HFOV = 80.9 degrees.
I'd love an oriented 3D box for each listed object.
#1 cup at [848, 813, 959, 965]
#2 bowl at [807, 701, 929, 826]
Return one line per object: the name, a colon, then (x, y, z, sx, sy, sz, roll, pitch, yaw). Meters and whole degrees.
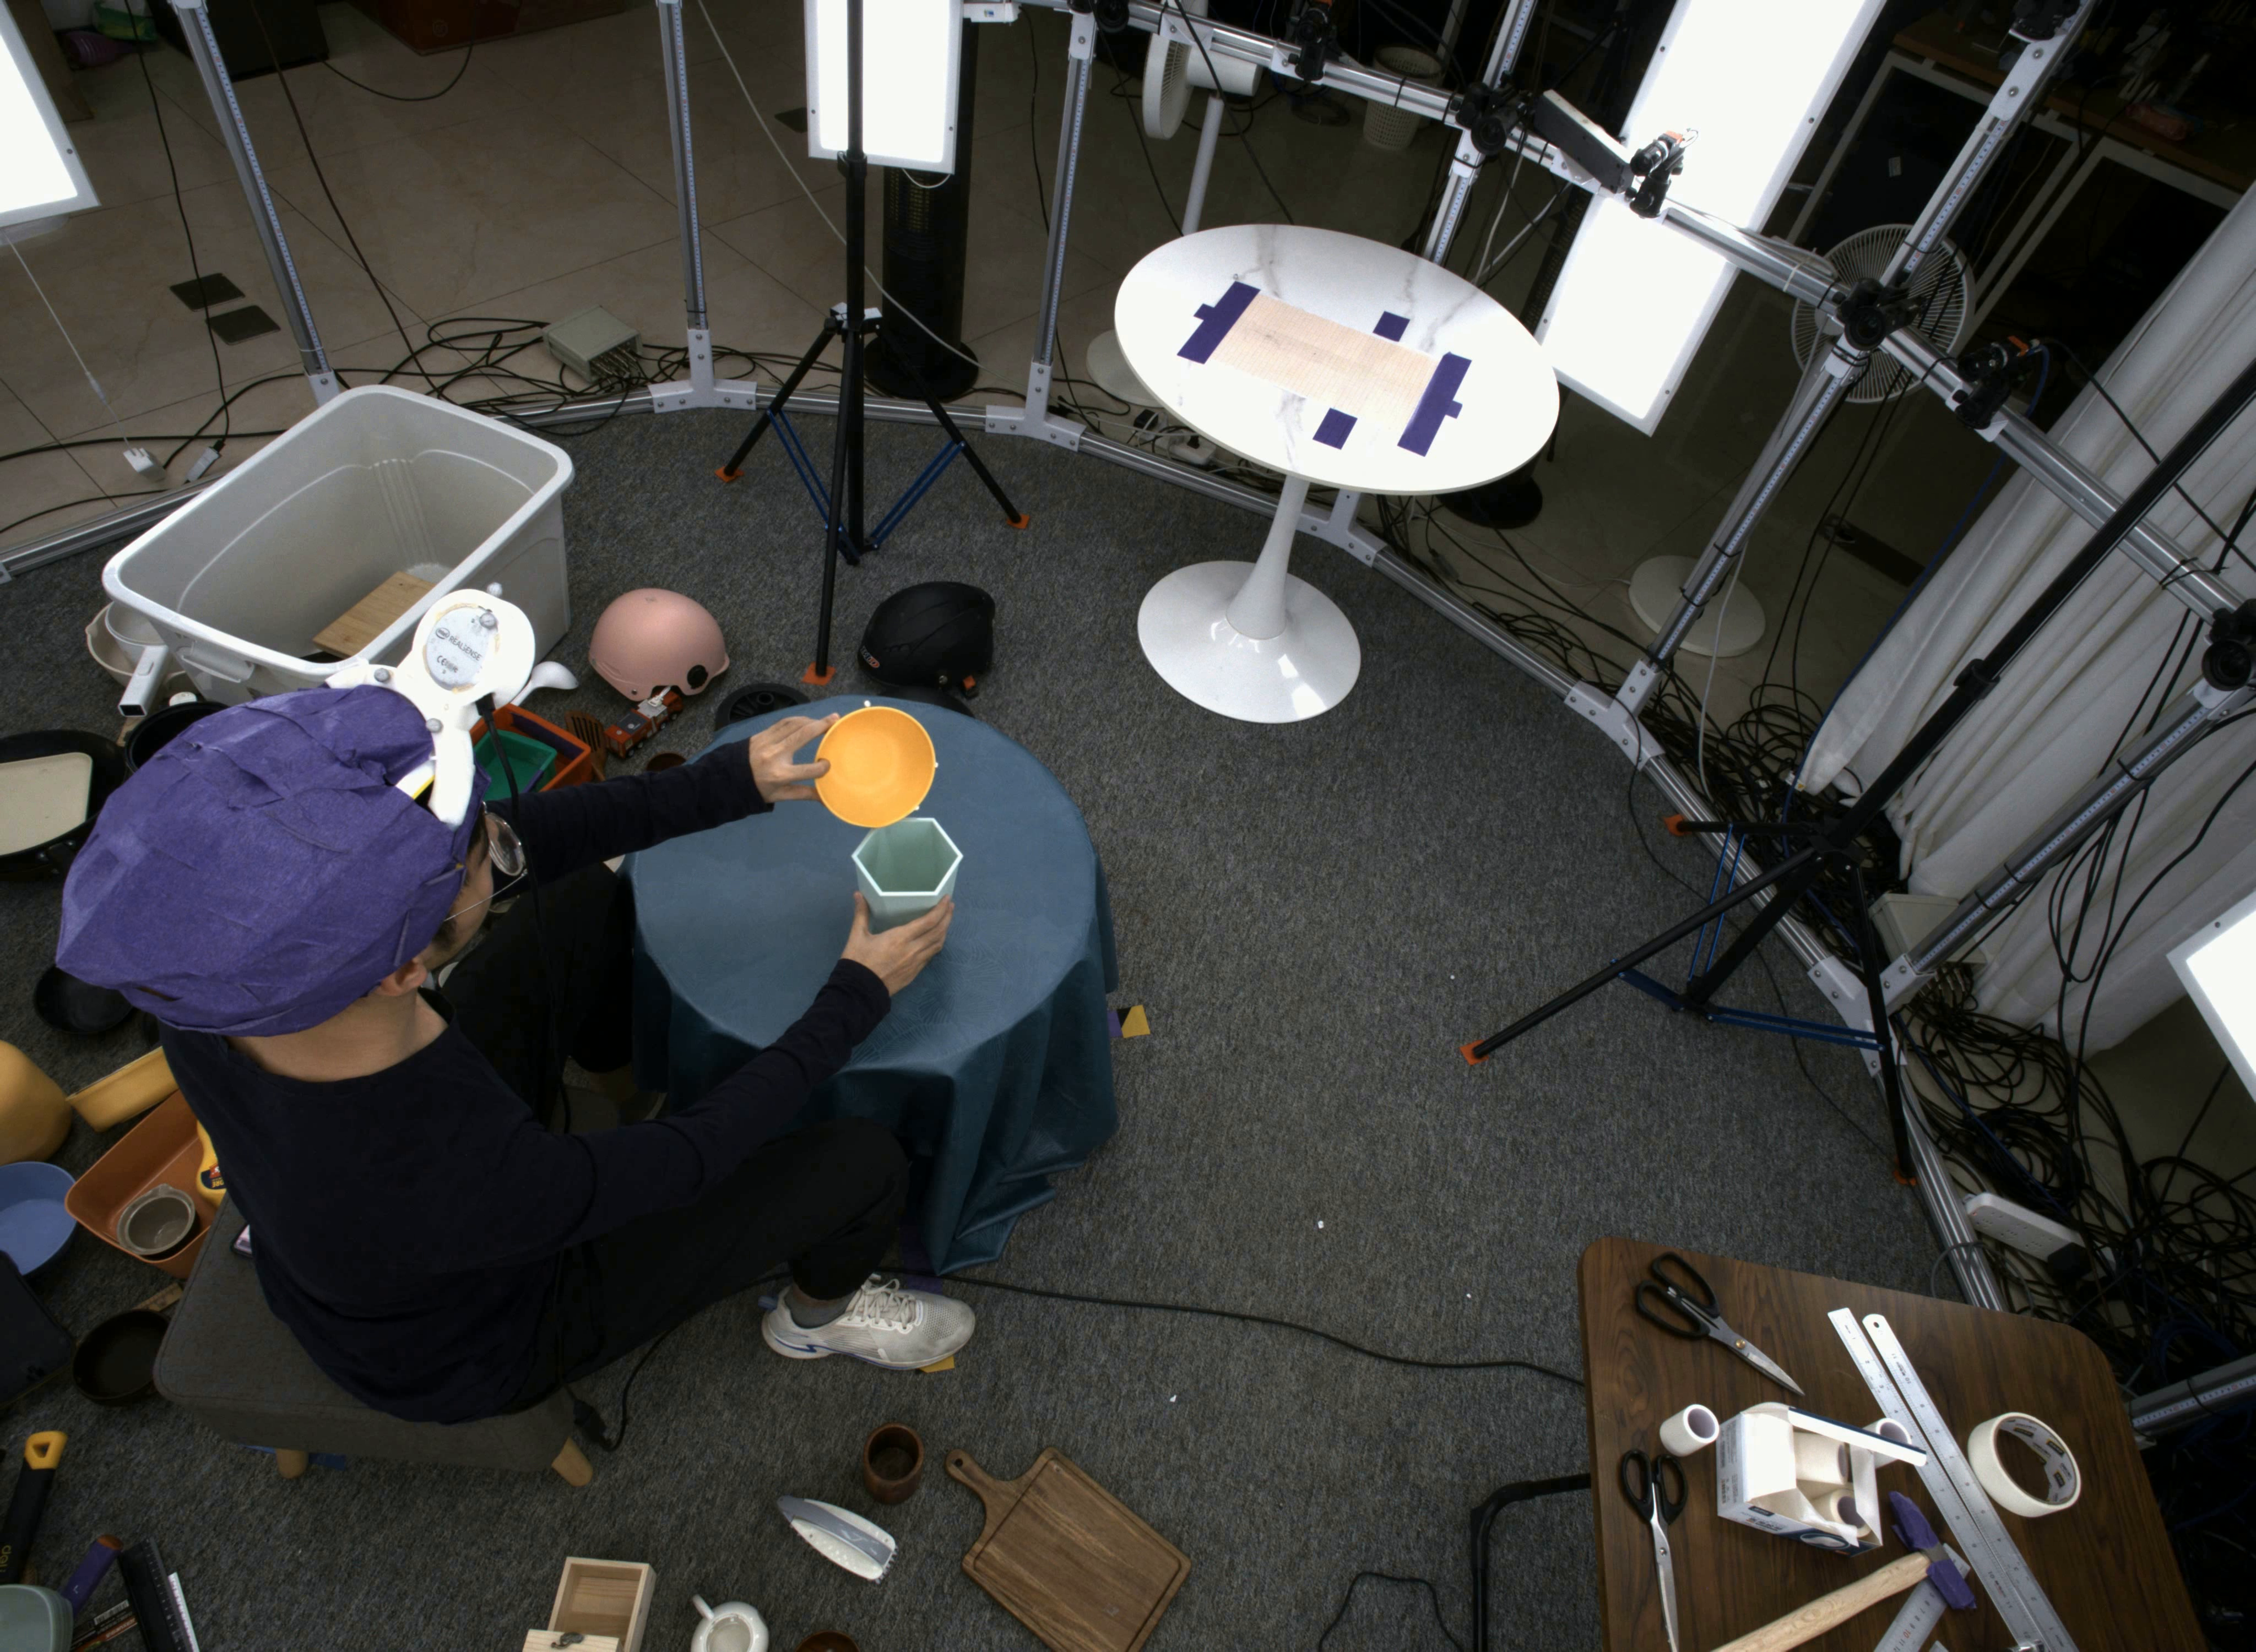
cup: (-0.274, 0.080, 1.597, 0.115, 0.166, 0.127, -29, 63, -28)
bowl: (-0.311, -0.079, 1.525, 0.146, 0.149, 0.058, -14, 22, -22)
